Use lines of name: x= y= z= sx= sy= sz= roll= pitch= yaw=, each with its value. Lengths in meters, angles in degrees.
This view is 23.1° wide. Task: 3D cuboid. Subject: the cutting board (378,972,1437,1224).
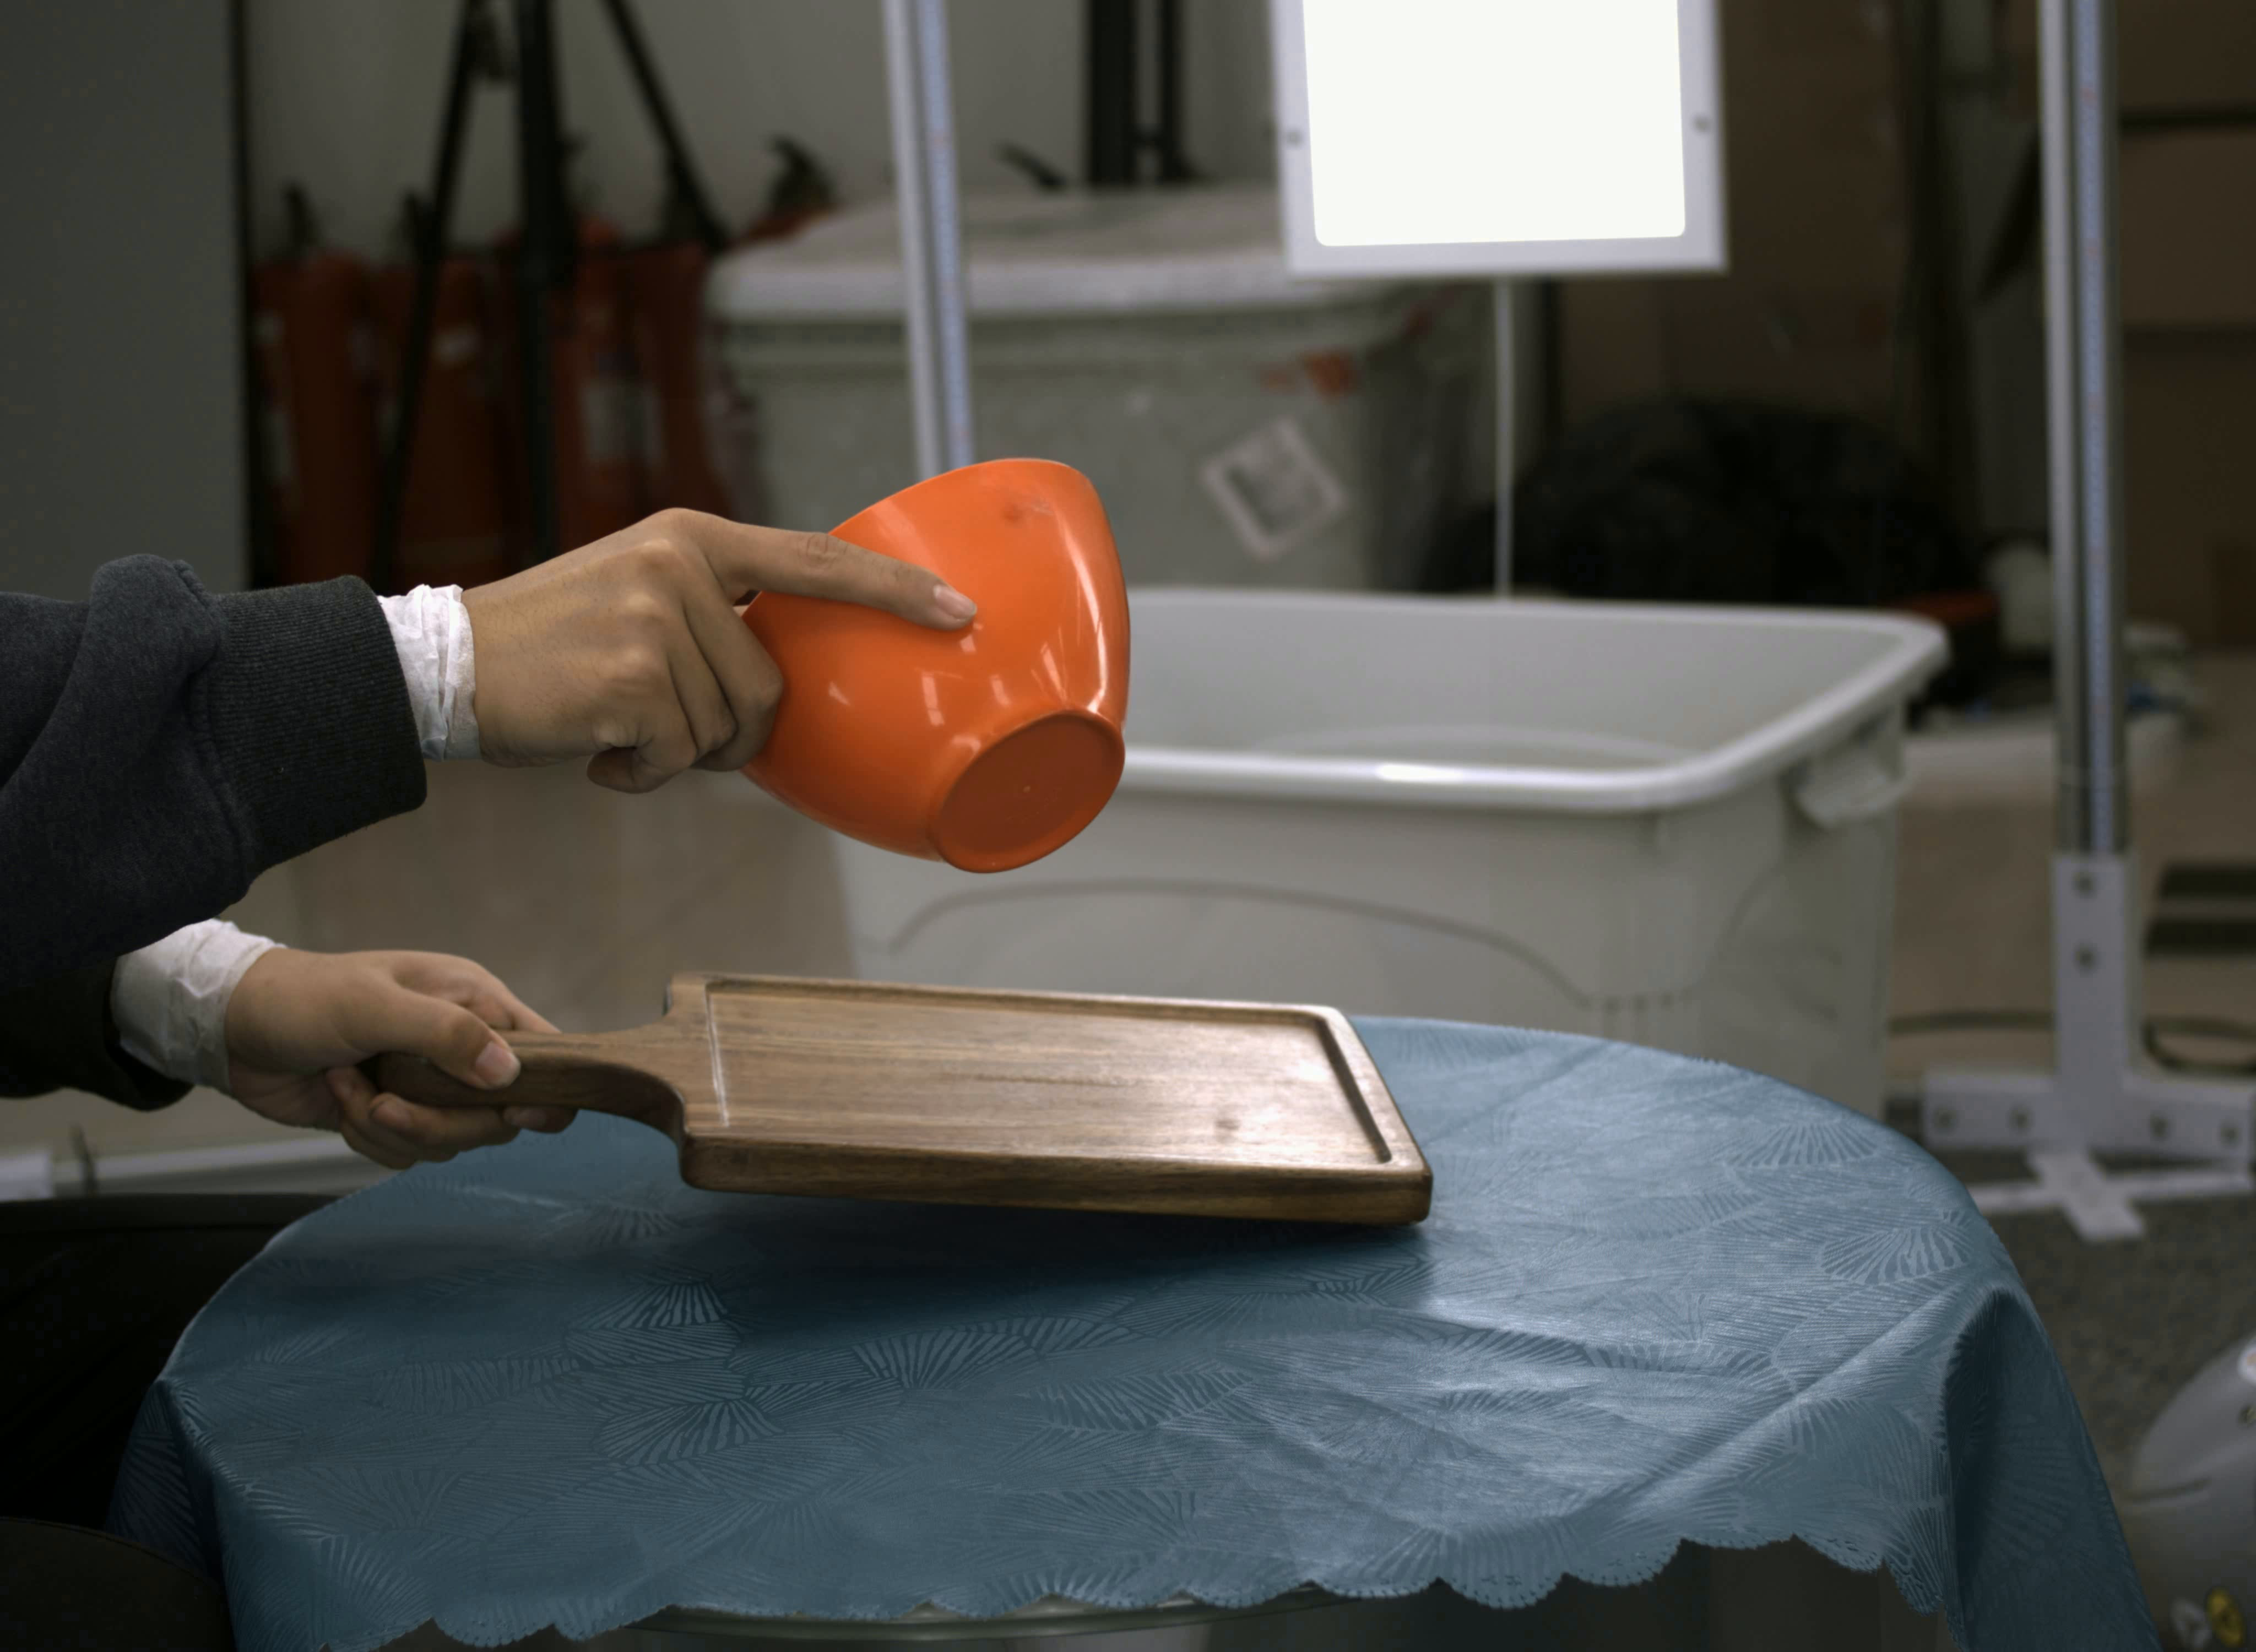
cutting board: x=-0.081 y=0.089 z=1.896 sx=0.349 sy=0.023 sz=0.201 roll=3 pitch=14 yaw=-6

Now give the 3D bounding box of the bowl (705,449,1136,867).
bowl: x=-0.050 y=-0.040 z=1.716 sx=0.145 sy=0.150 sz=0.105 roll=-12 pitch=50 yaw=-29
